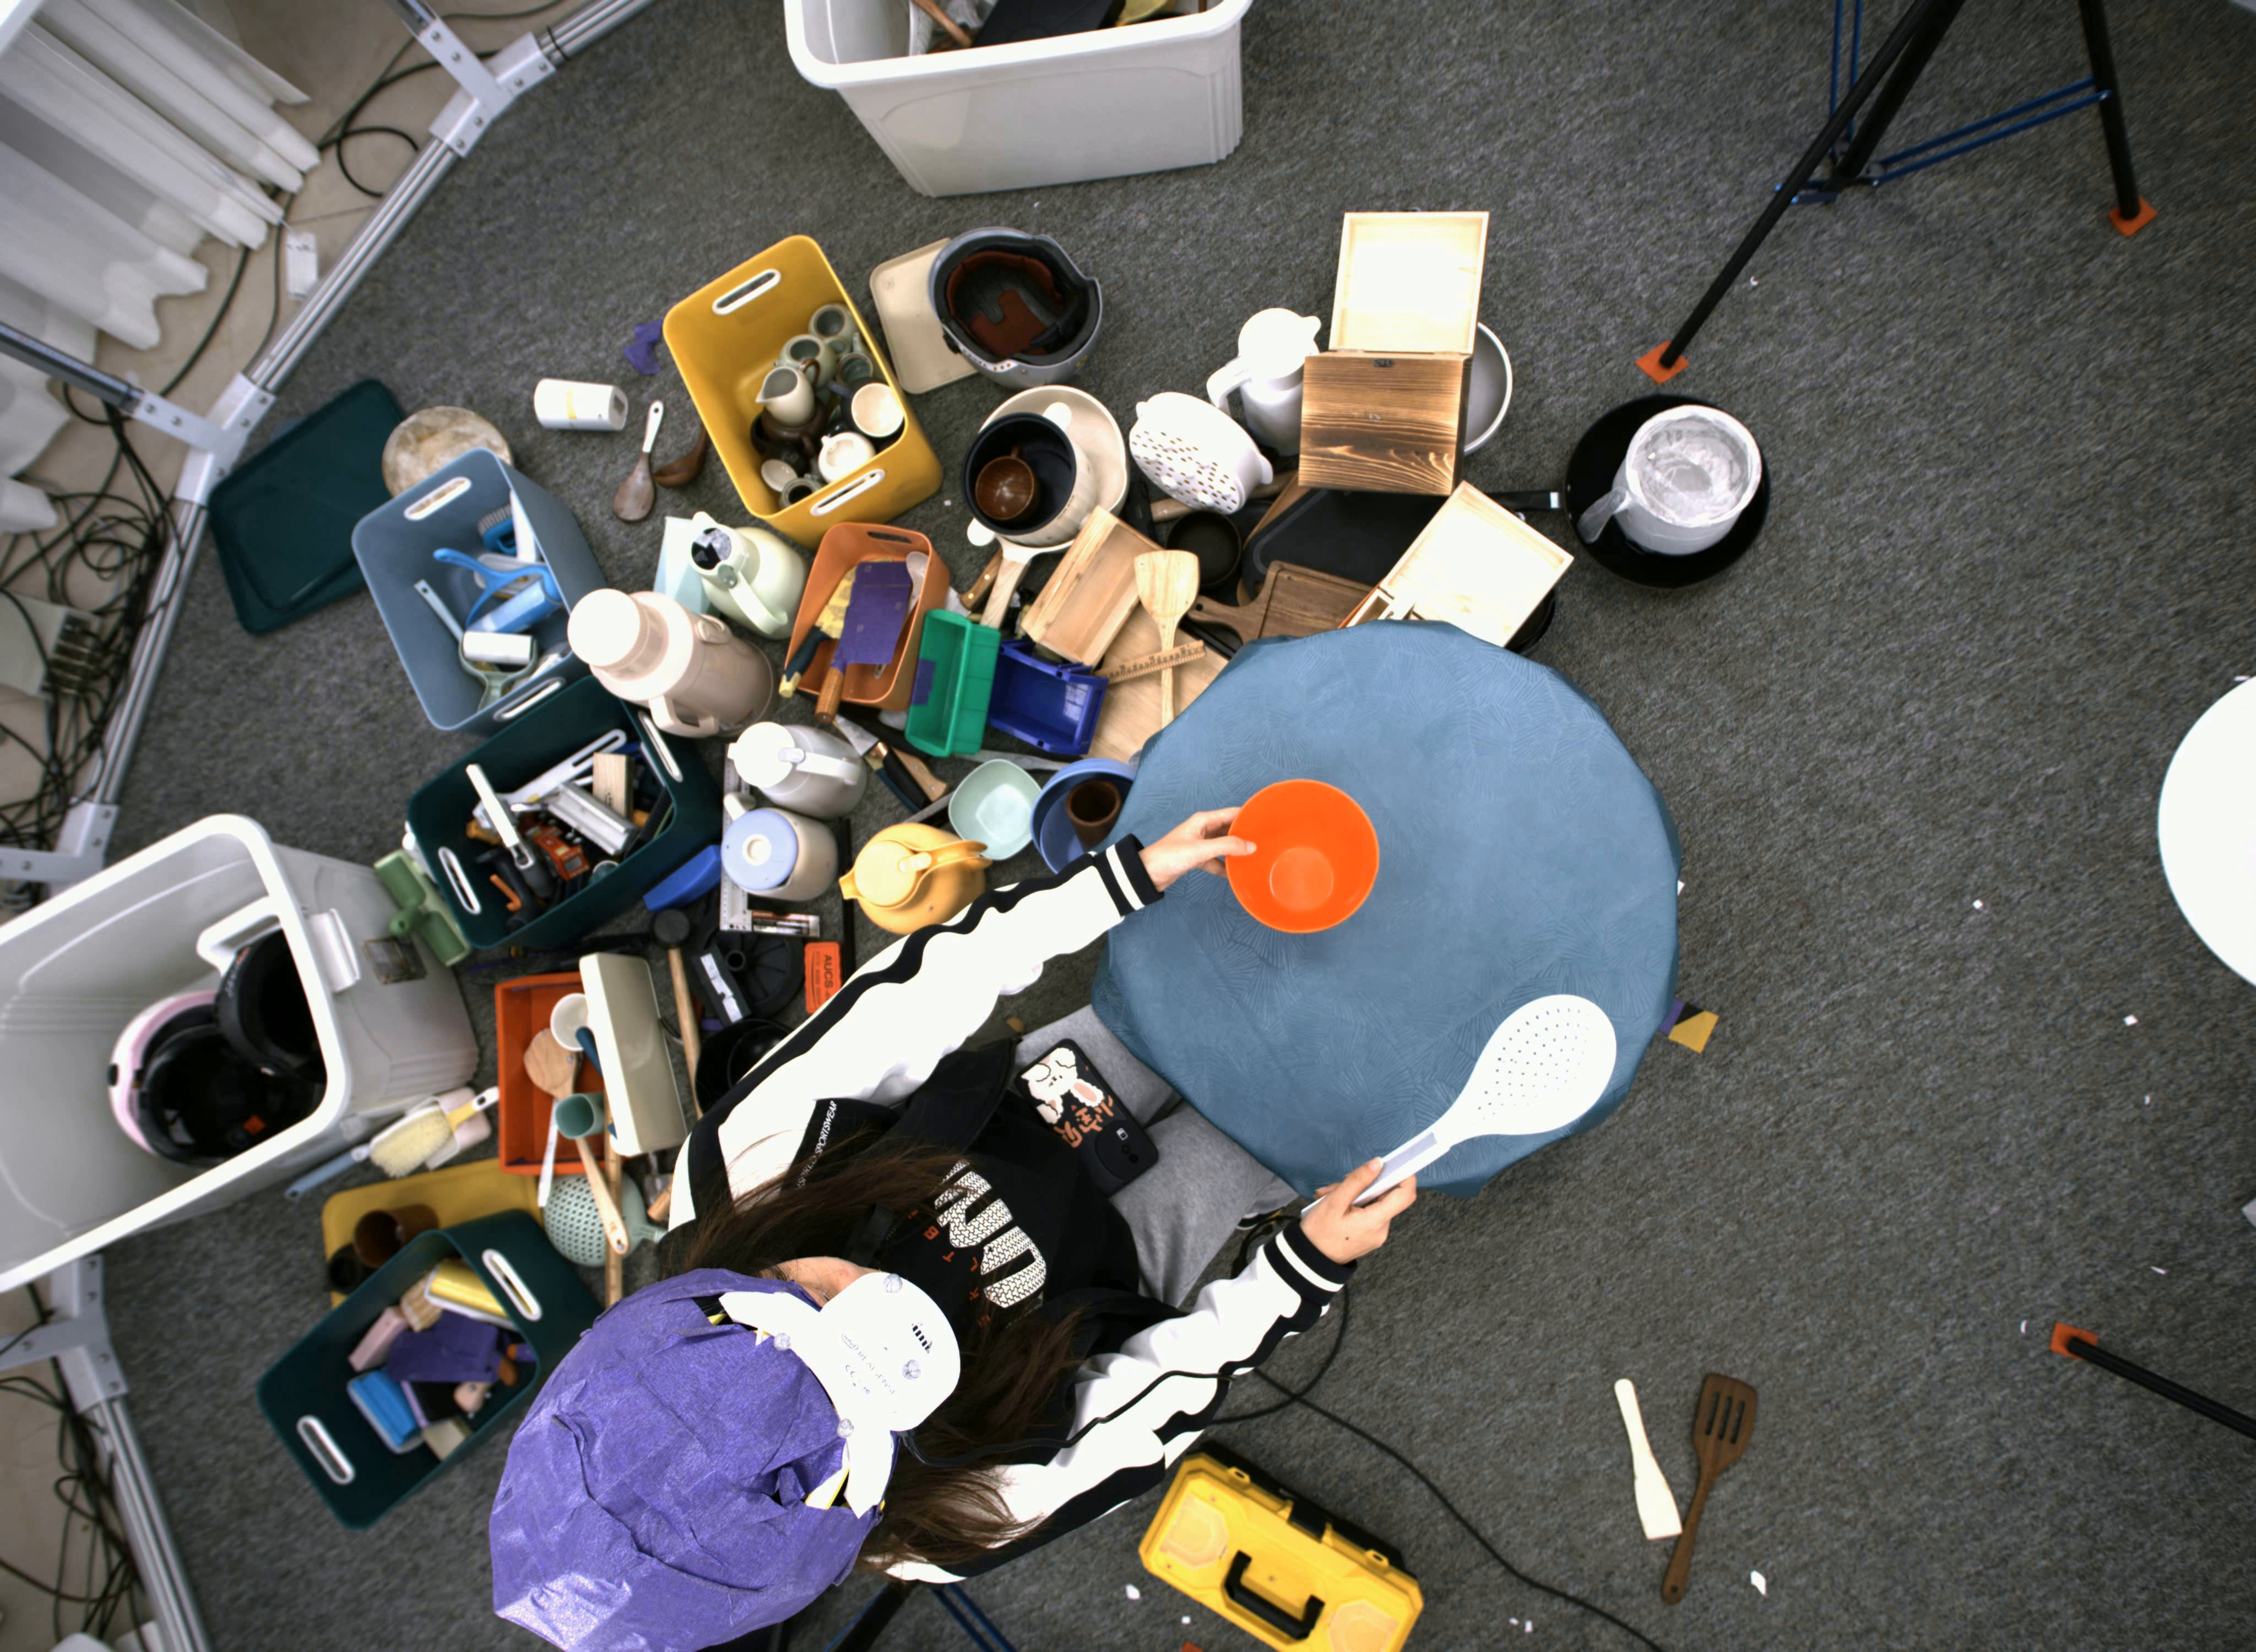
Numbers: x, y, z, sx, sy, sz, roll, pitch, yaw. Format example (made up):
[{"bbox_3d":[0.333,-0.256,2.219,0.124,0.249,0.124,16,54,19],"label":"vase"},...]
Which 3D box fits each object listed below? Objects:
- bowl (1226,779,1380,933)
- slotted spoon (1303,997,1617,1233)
[{"bbox_3d":[0.173,0.035,1.374,0.148,0.105,0.147,-1,83,8],"label":"bowl"},{"bbox_3d":[0.301,0.279,1.278,0.354,0.133,0.046,-36,124,19],"label":"slotted spoon"}]
